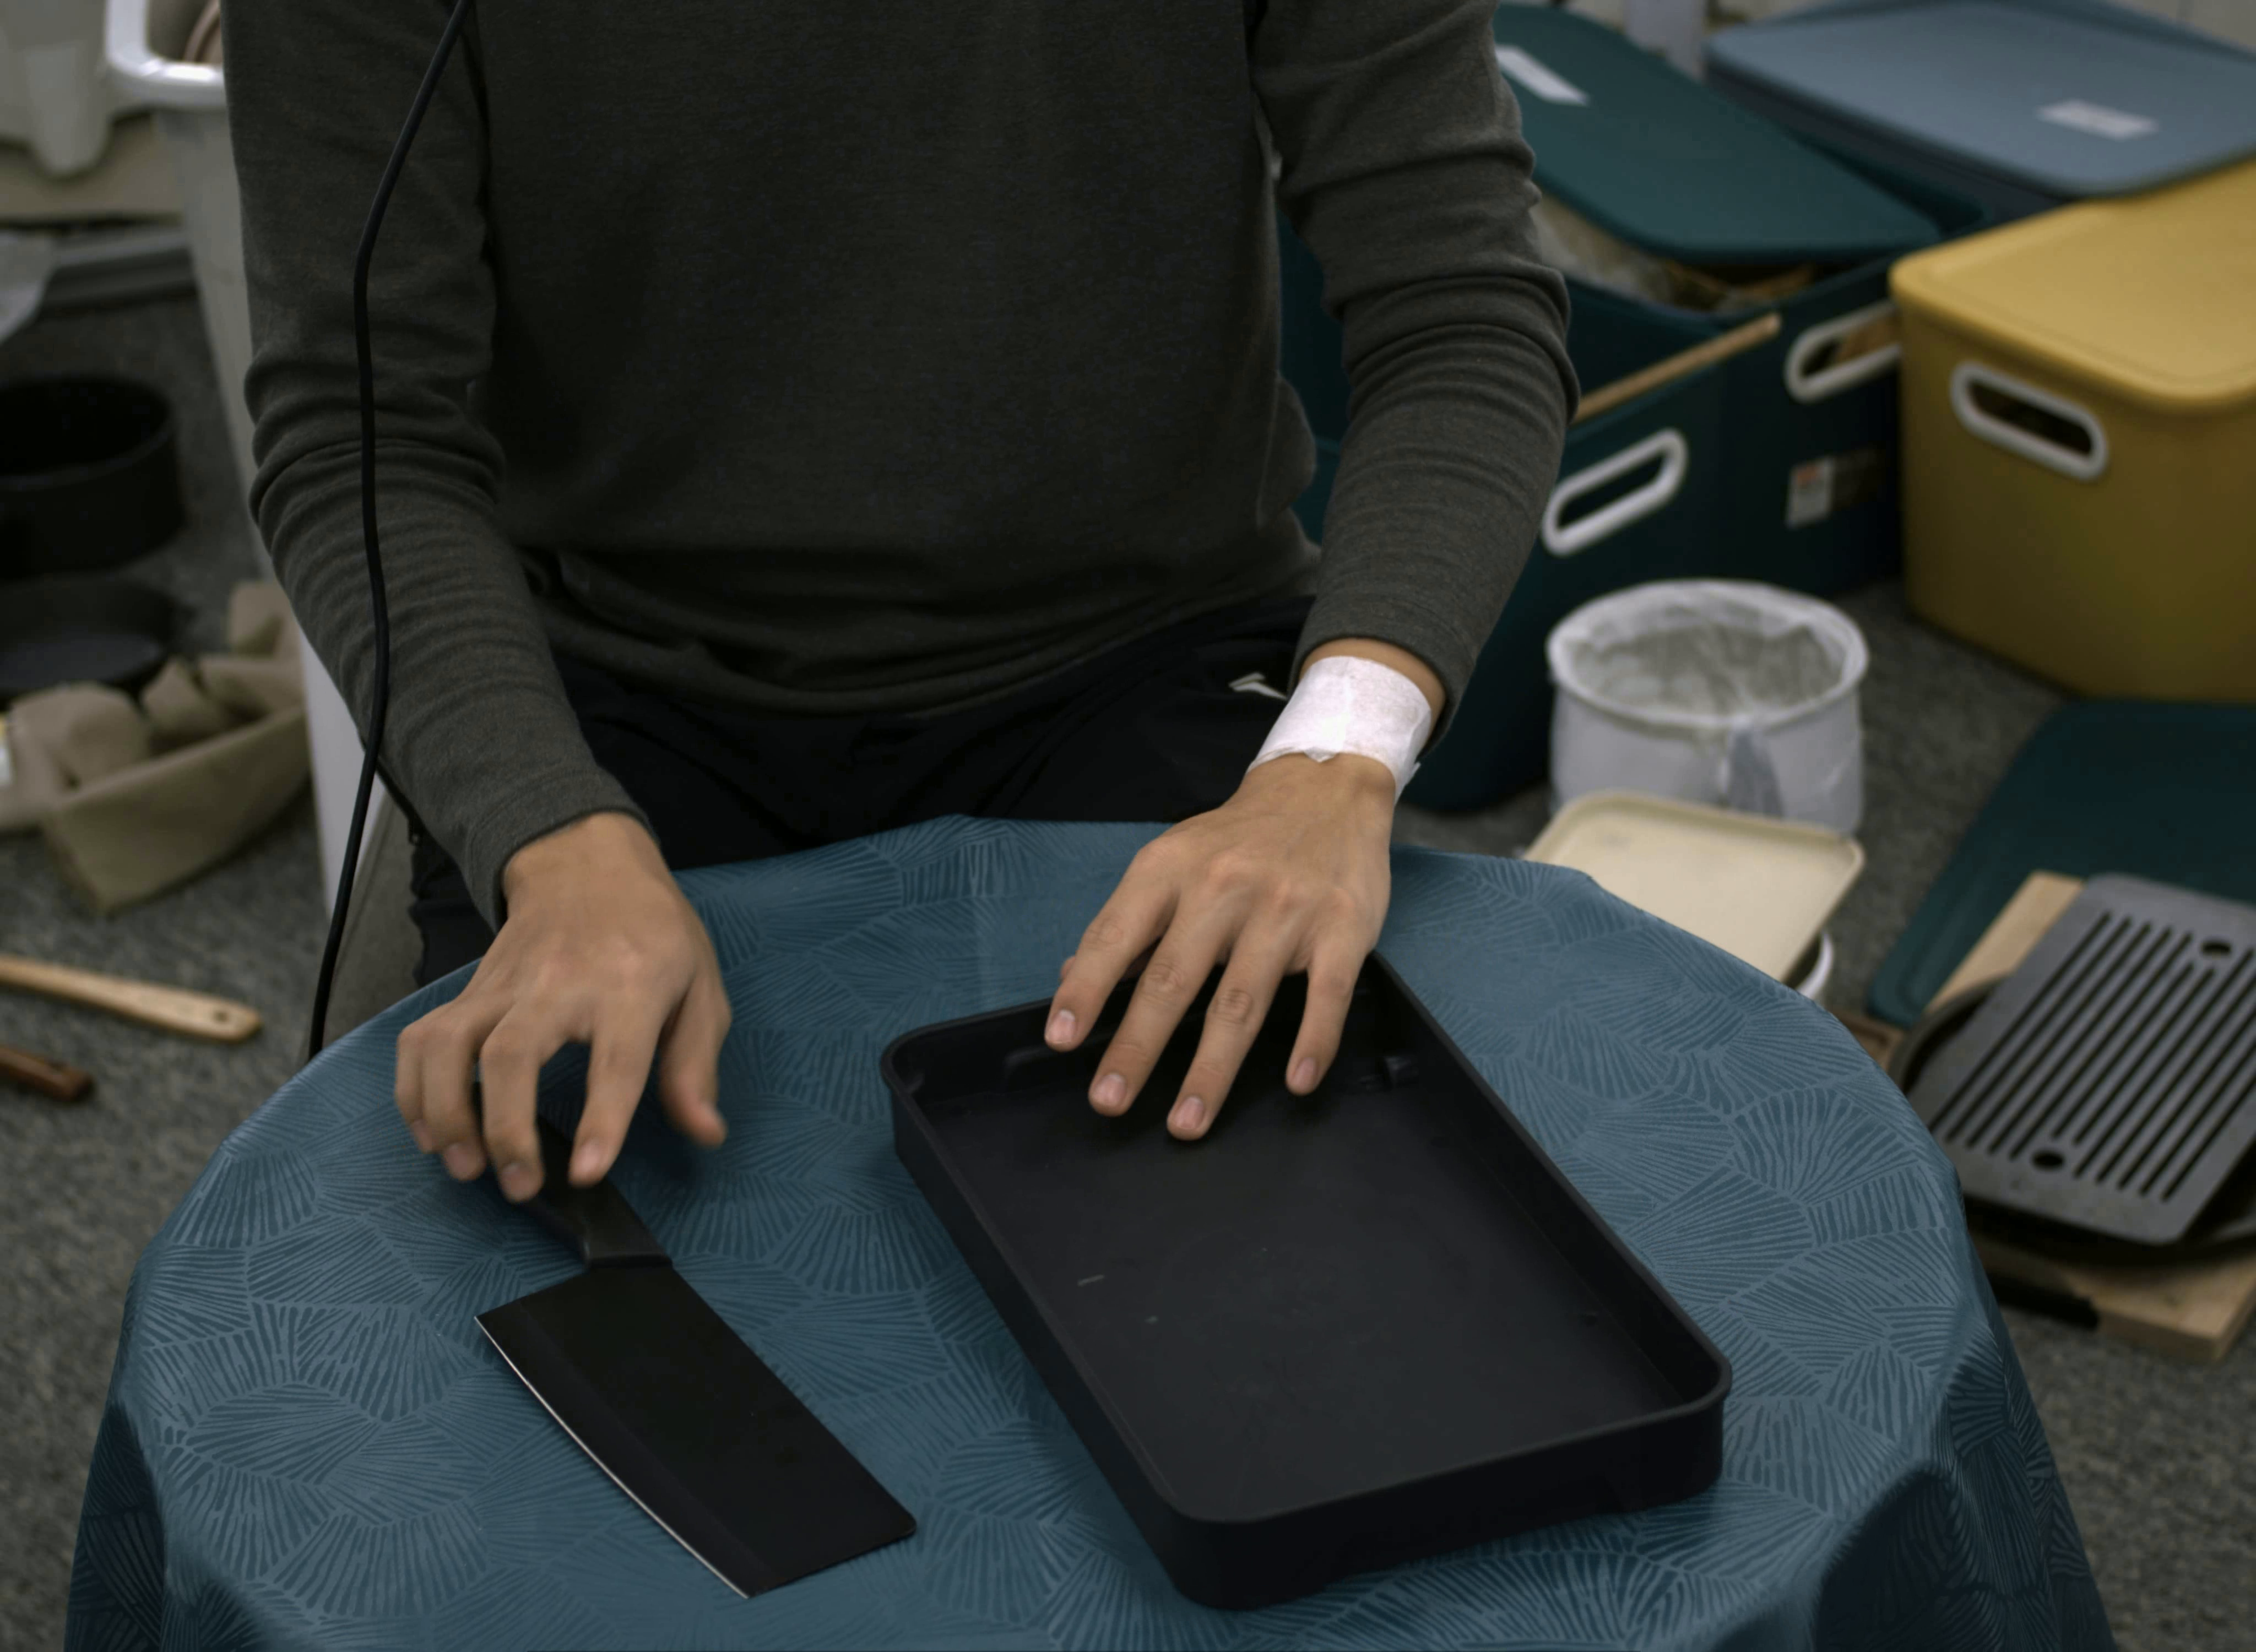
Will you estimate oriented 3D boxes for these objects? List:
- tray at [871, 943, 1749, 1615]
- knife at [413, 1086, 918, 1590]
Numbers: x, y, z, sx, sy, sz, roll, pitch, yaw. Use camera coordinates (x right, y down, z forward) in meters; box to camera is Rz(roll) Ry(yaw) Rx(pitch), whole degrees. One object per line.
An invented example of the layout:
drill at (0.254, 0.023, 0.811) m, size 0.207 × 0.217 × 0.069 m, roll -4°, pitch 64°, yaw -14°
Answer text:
tray at (0.051, 0.137, 1.789) m, size 0.185 × 0.036 × 0.320 m, roll -13°, pitch 28°, yaw -18°
knife at (-0.163, 0.159, 1.789) m, size 0.081 × 0.020 × 0.304 m, roll -15°, pitch 32°, yaw -22°
